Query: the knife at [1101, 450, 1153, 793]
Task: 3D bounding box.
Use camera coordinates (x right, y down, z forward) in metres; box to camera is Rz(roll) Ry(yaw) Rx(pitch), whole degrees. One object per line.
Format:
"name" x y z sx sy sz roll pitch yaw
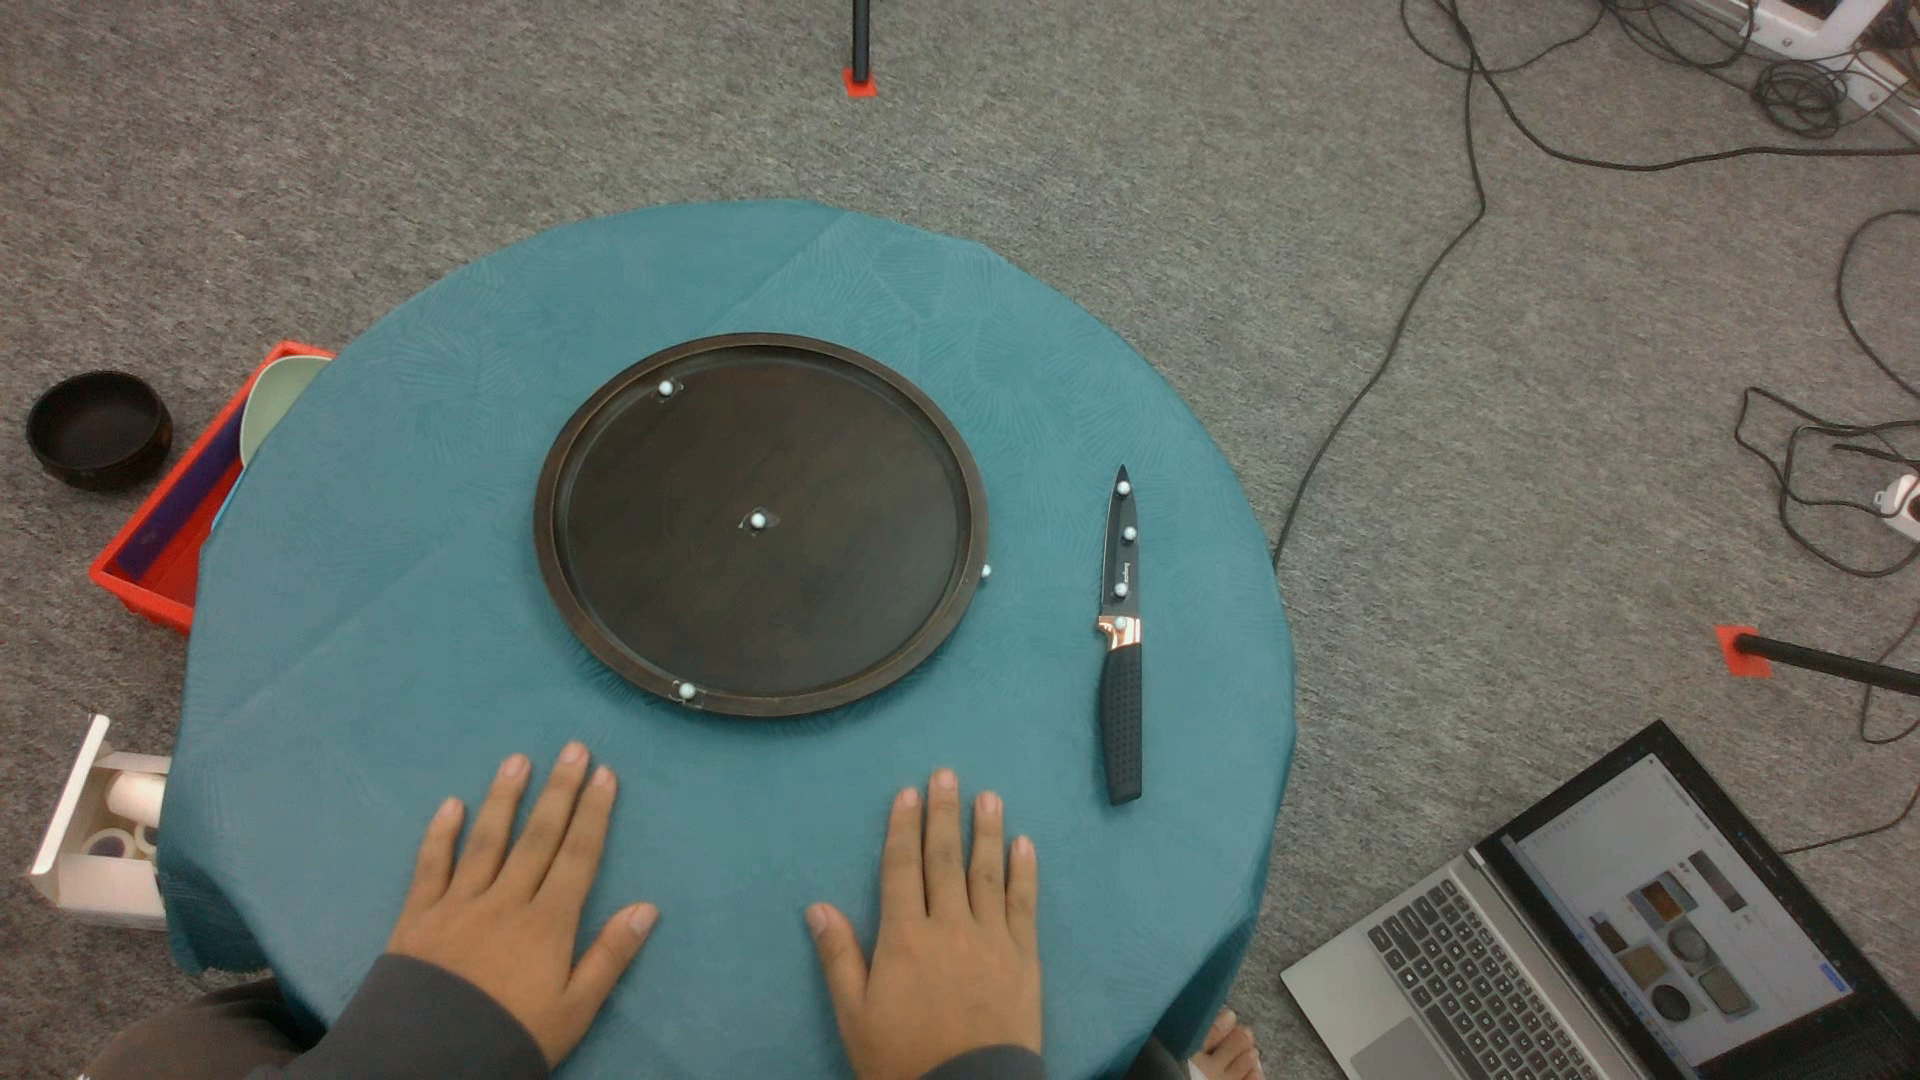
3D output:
"knife" 0.097 0.040 0.803 0.026 0.017 0.226 2 58 0

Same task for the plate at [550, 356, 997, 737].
"plate" -0.105 -0.003 0.797 0.255 0.029 0.256 4 60 -6
